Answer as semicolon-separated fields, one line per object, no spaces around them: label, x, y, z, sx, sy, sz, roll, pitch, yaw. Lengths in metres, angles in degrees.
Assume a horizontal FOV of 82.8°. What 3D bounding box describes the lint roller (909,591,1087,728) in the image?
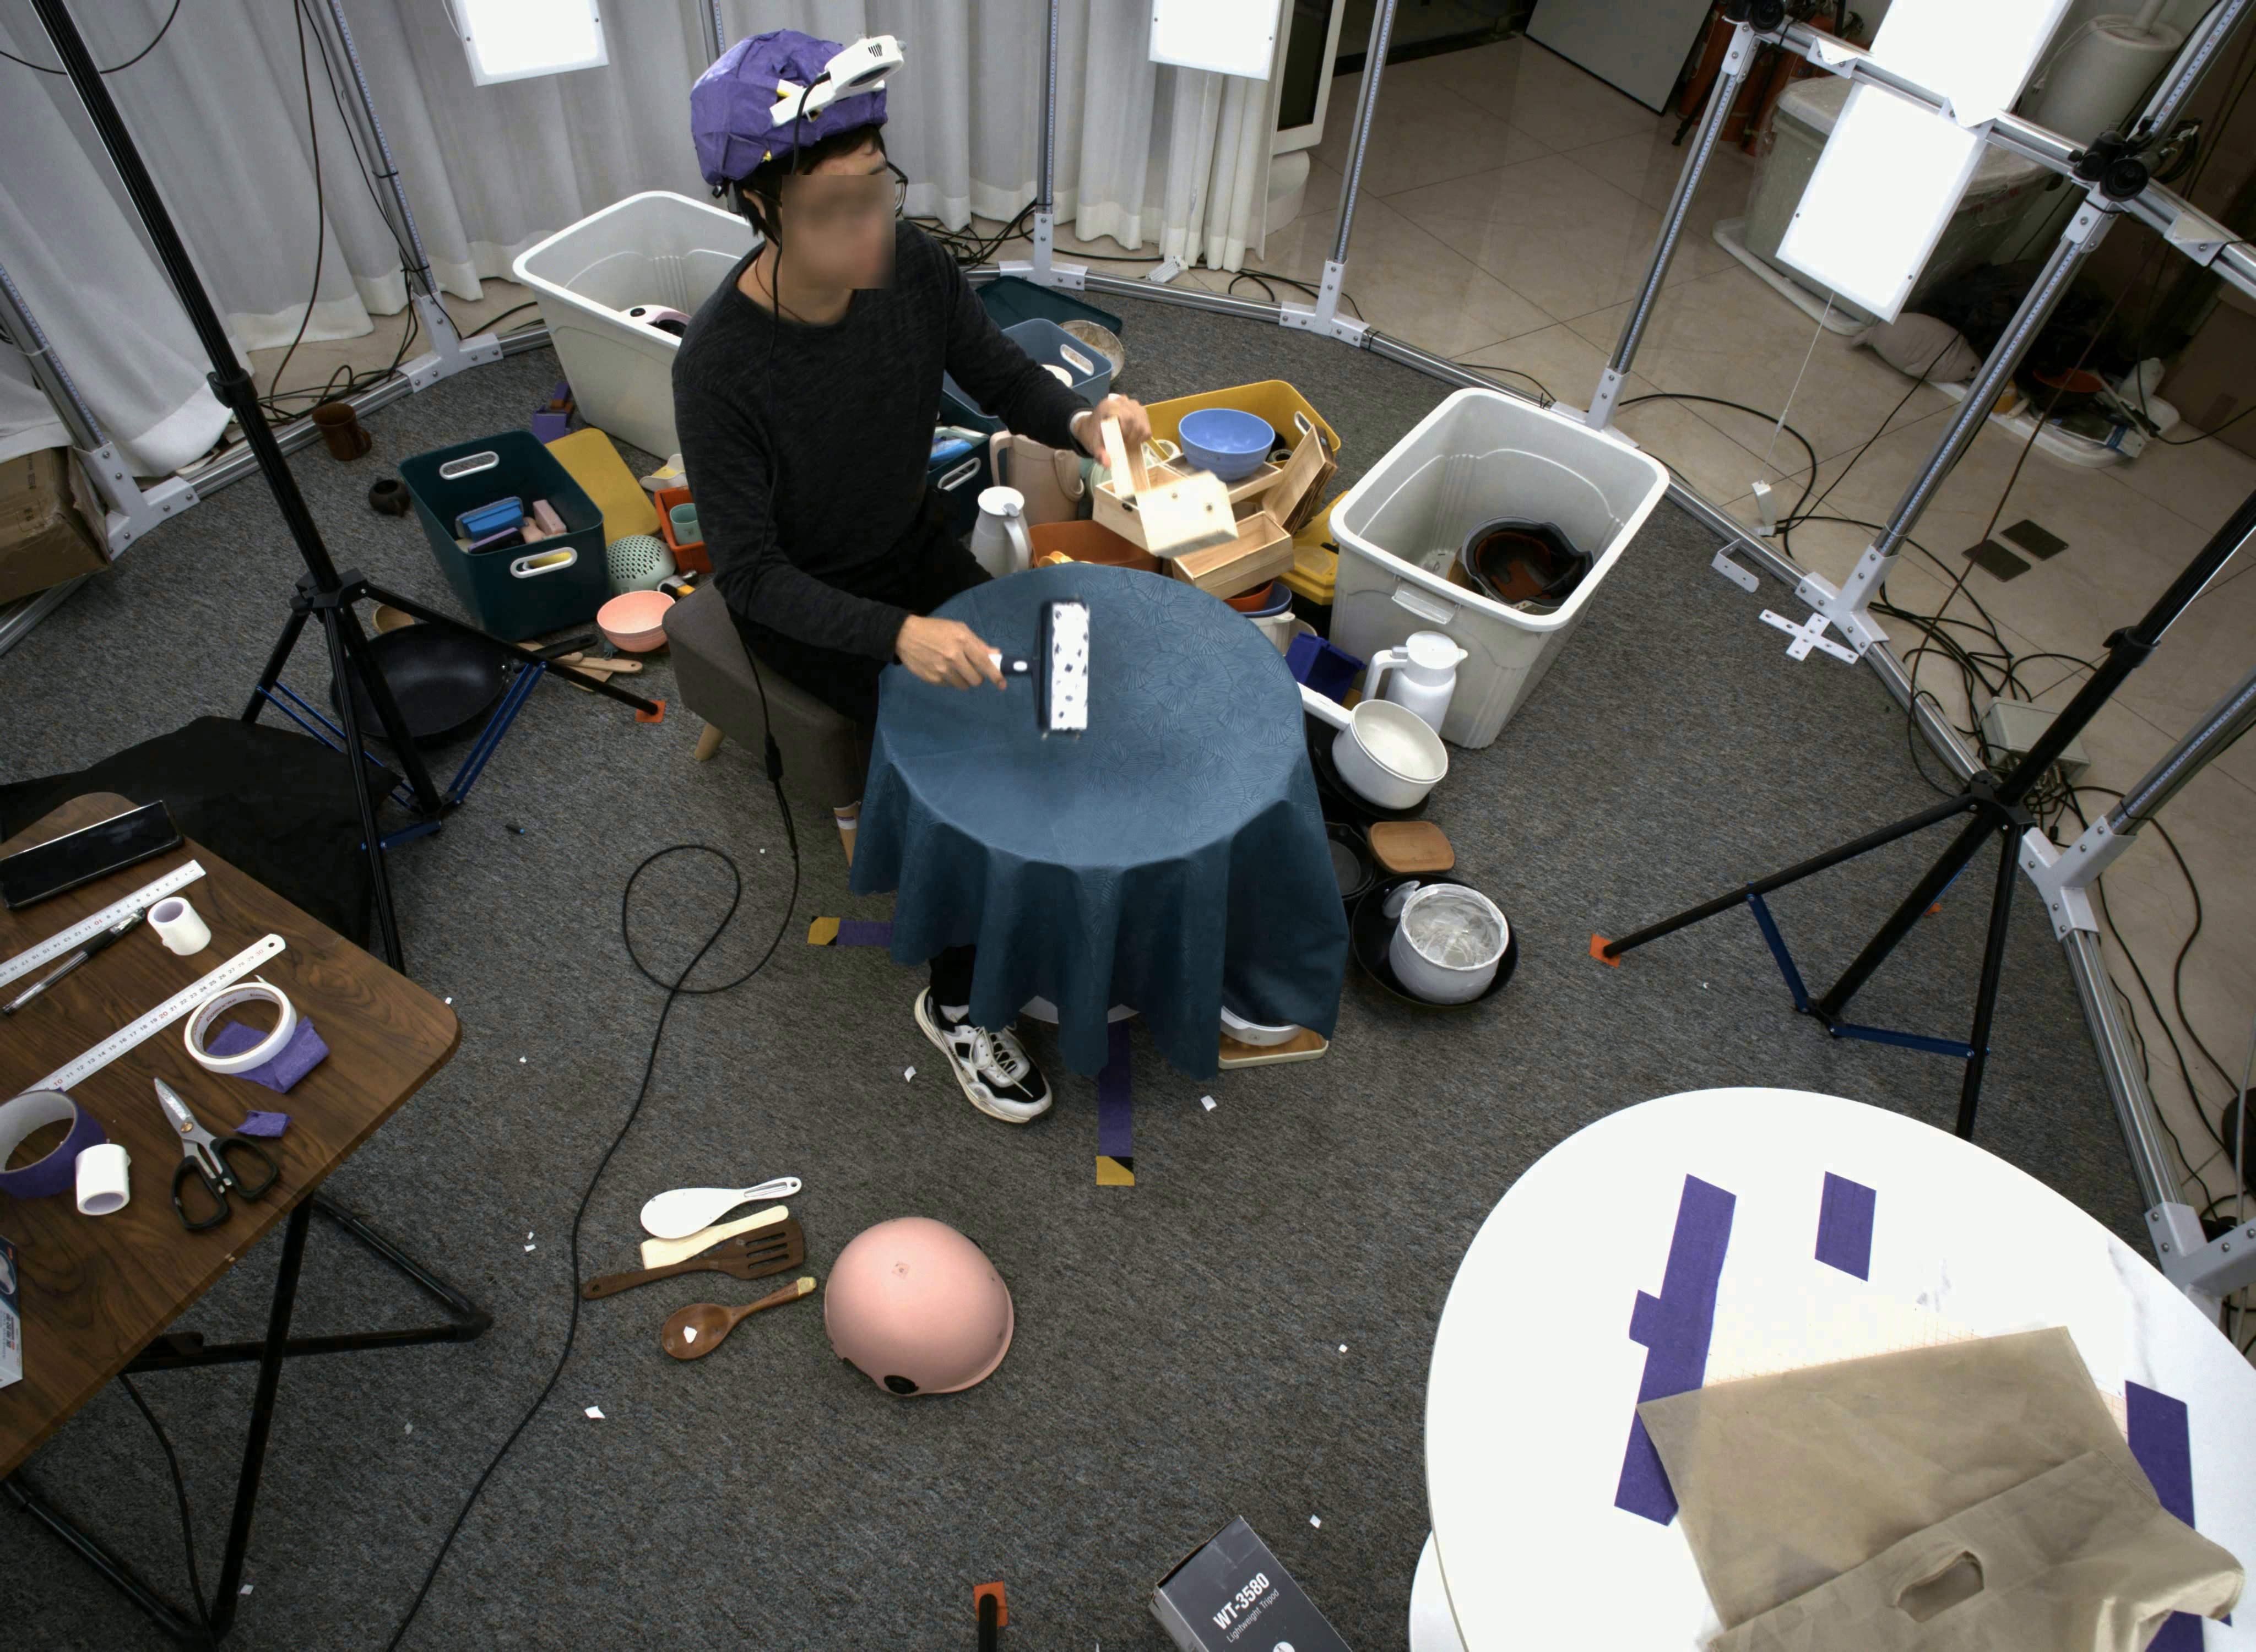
lint roller;-0.175;-0.217;1.698;0.247;0.175;0.050;0;8;13

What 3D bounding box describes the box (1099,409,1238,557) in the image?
box;0.055;-0.458;1.681;0.134;0.102;0.185;-15;86;17
